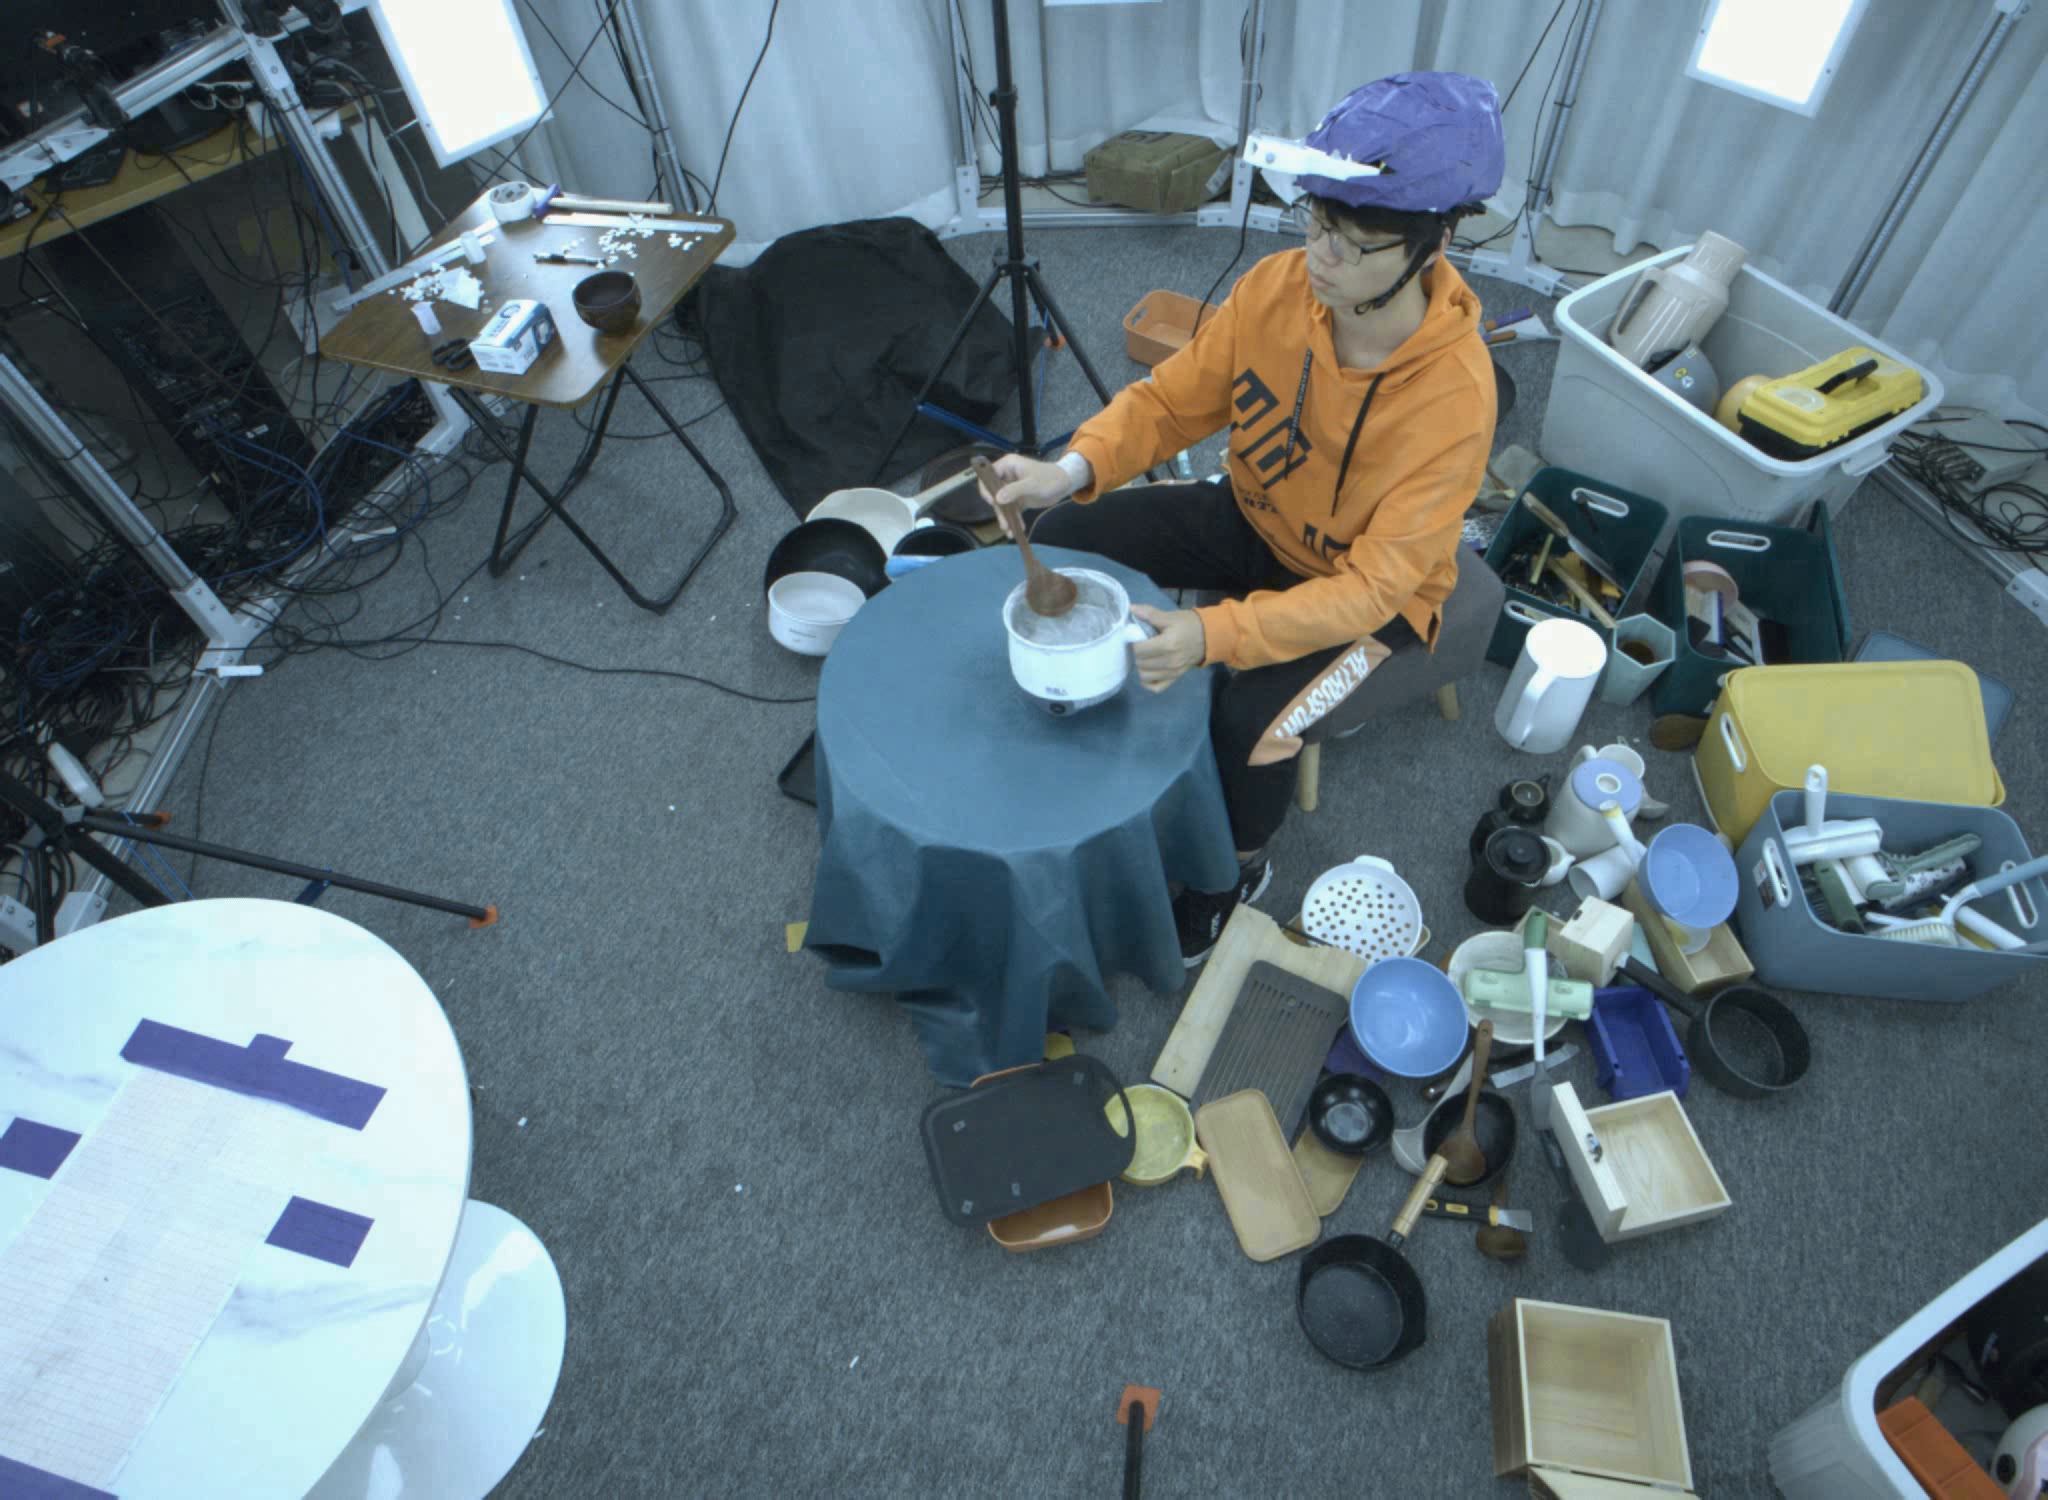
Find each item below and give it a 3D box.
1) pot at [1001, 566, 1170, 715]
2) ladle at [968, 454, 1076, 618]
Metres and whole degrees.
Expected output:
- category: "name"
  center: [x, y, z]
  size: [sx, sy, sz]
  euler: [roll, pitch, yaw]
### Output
- category: "pot"
  center: [0.090, -0.154, 1.749]
  size: [0.231, 0.138, 0.178]
  euler: [5, 49, 13]
- category: "ladle"
  center: [-0.009, -0.304, 1.713]
  size: [0.077, 0.064, 0.261]
  euler: [-29, 98, -22]
